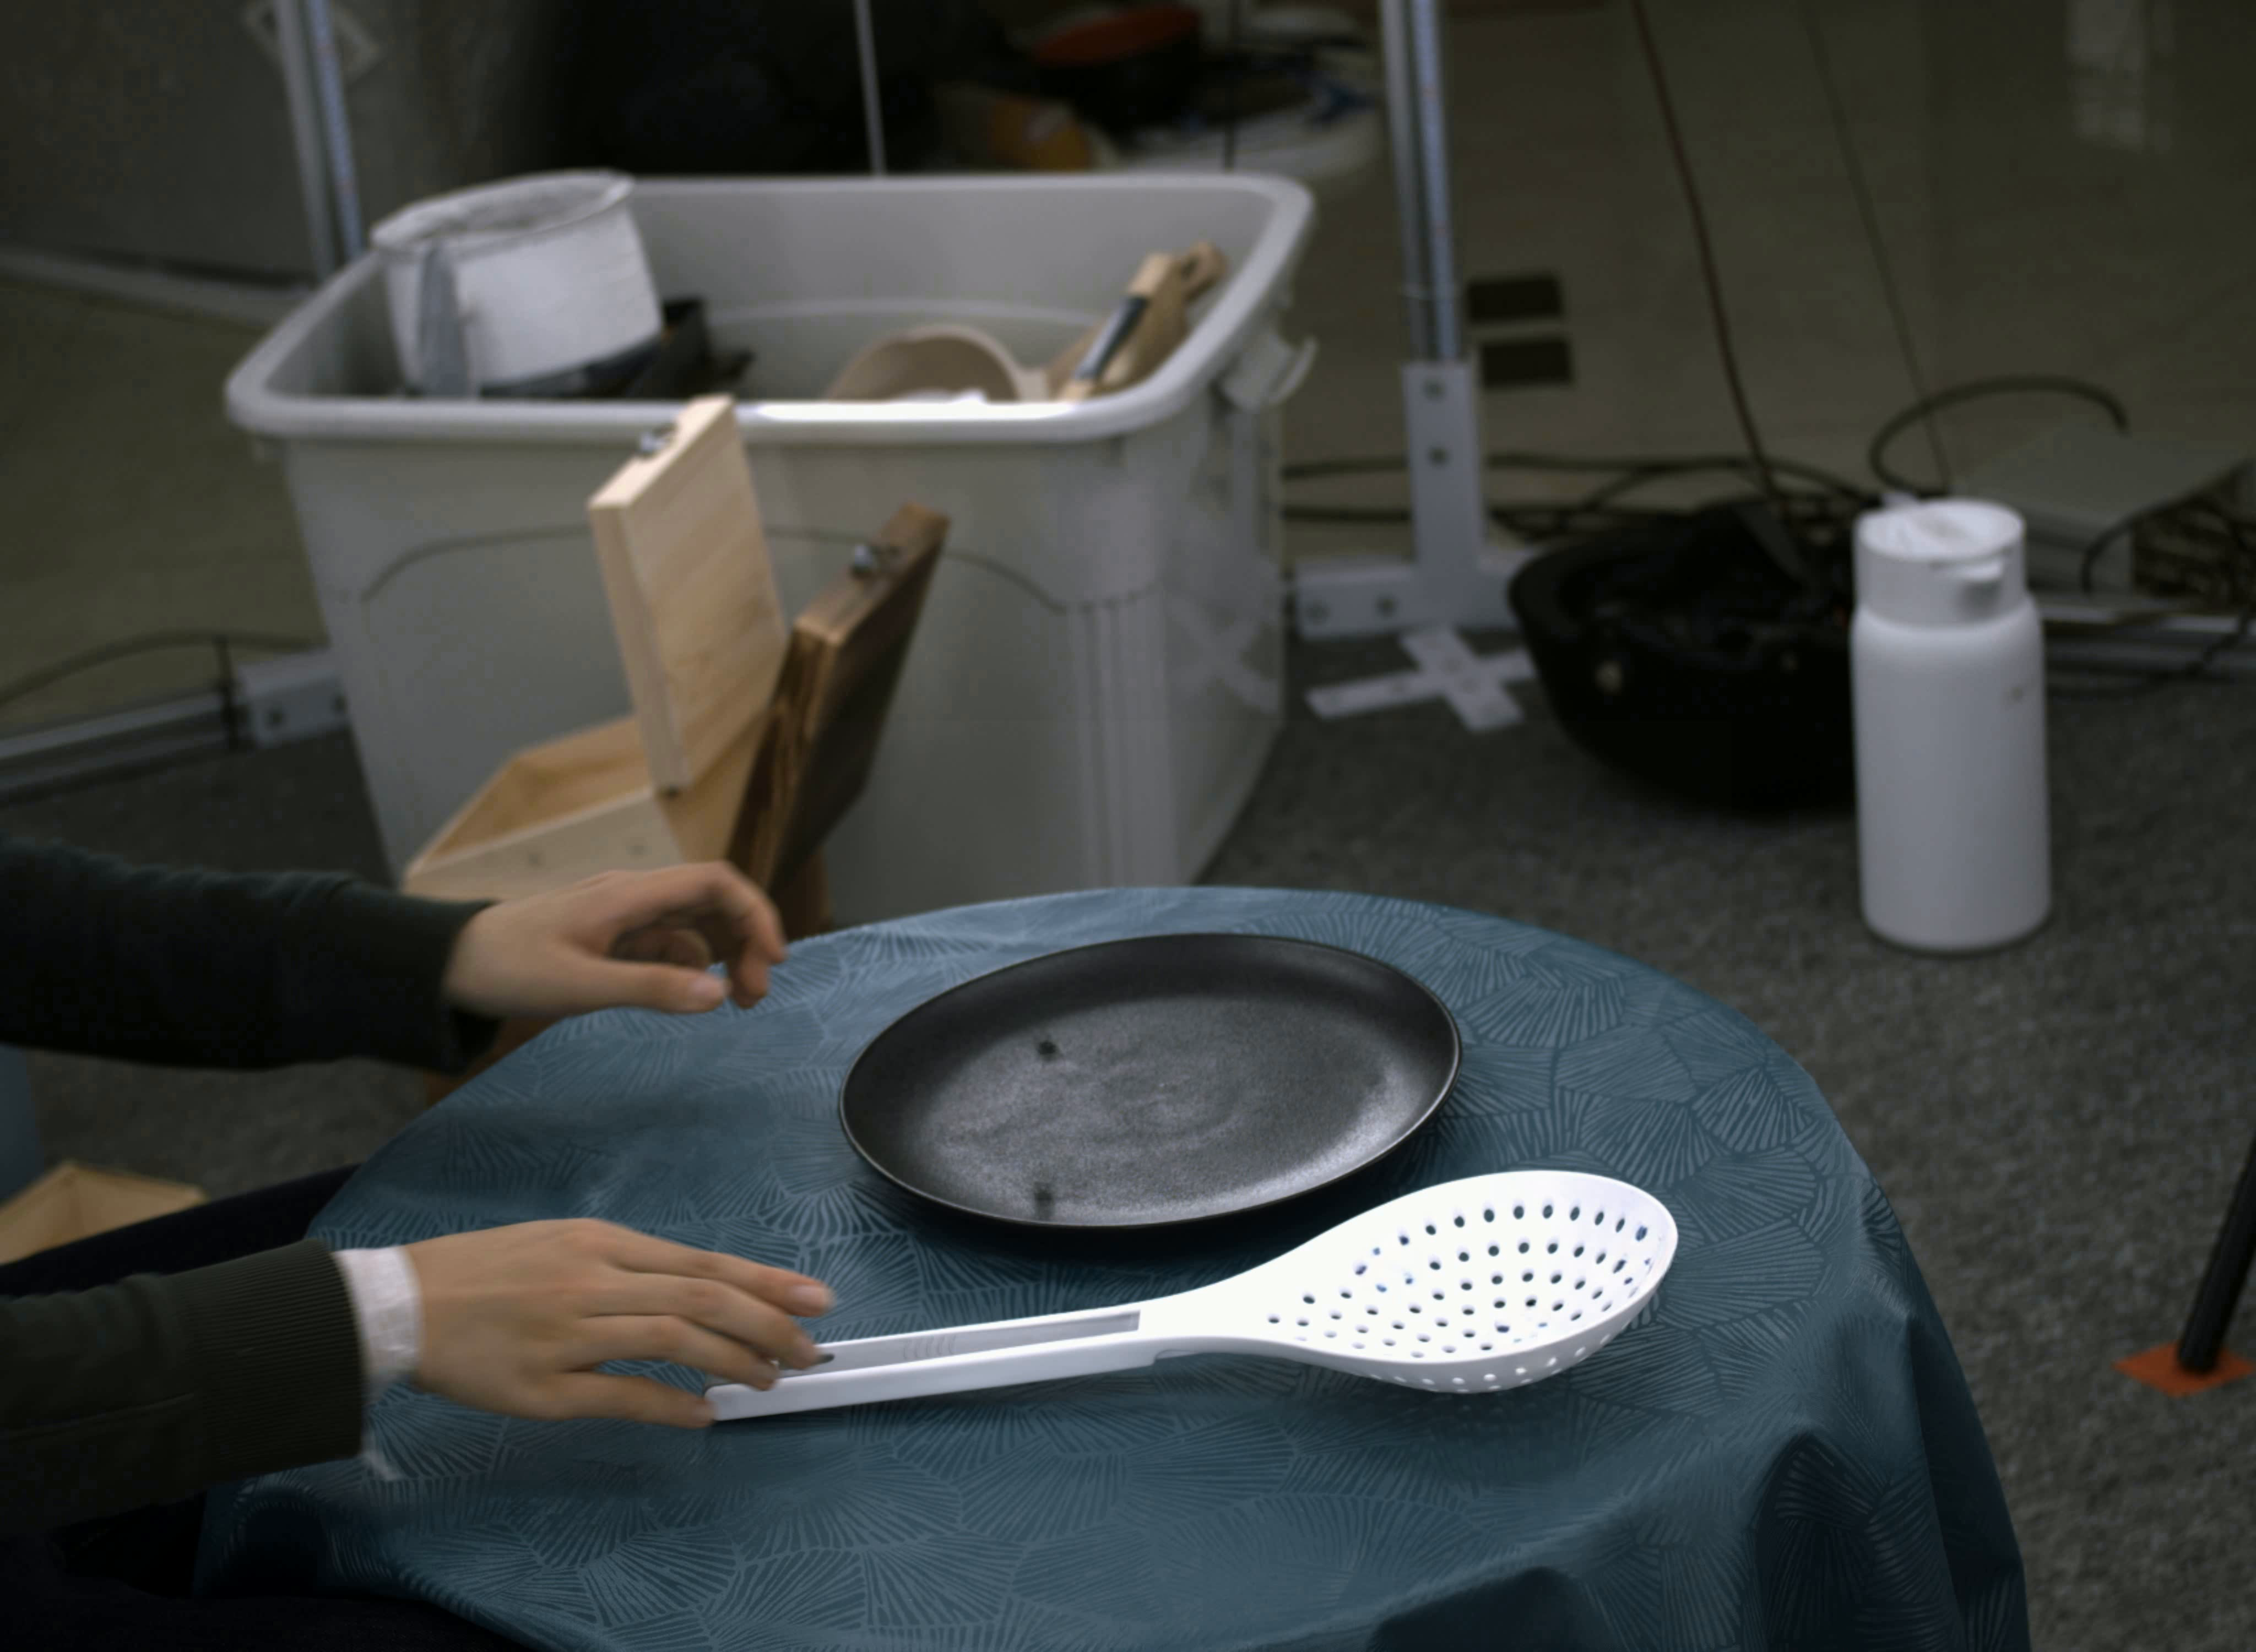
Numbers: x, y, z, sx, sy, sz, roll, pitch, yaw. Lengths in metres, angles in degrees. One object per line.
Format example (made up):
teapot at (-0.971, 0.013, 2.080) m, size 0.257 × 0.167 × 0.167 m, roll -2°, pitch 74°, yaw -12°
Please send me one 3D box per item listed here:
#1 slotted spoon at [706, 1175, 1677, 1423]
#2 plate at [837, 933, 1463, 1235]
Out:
slotted spoon at (0.021, 0.177, 2.011) m, size 0.349 × 0.046 × 0.134 m, roll -4°, pitch 23°, yaw 6°
plate at (0.009, 0.105, 2.197) m, size 0.244 × 0.024 × 0.241 m, roll -5°, pitch 25°, yaw 3°
